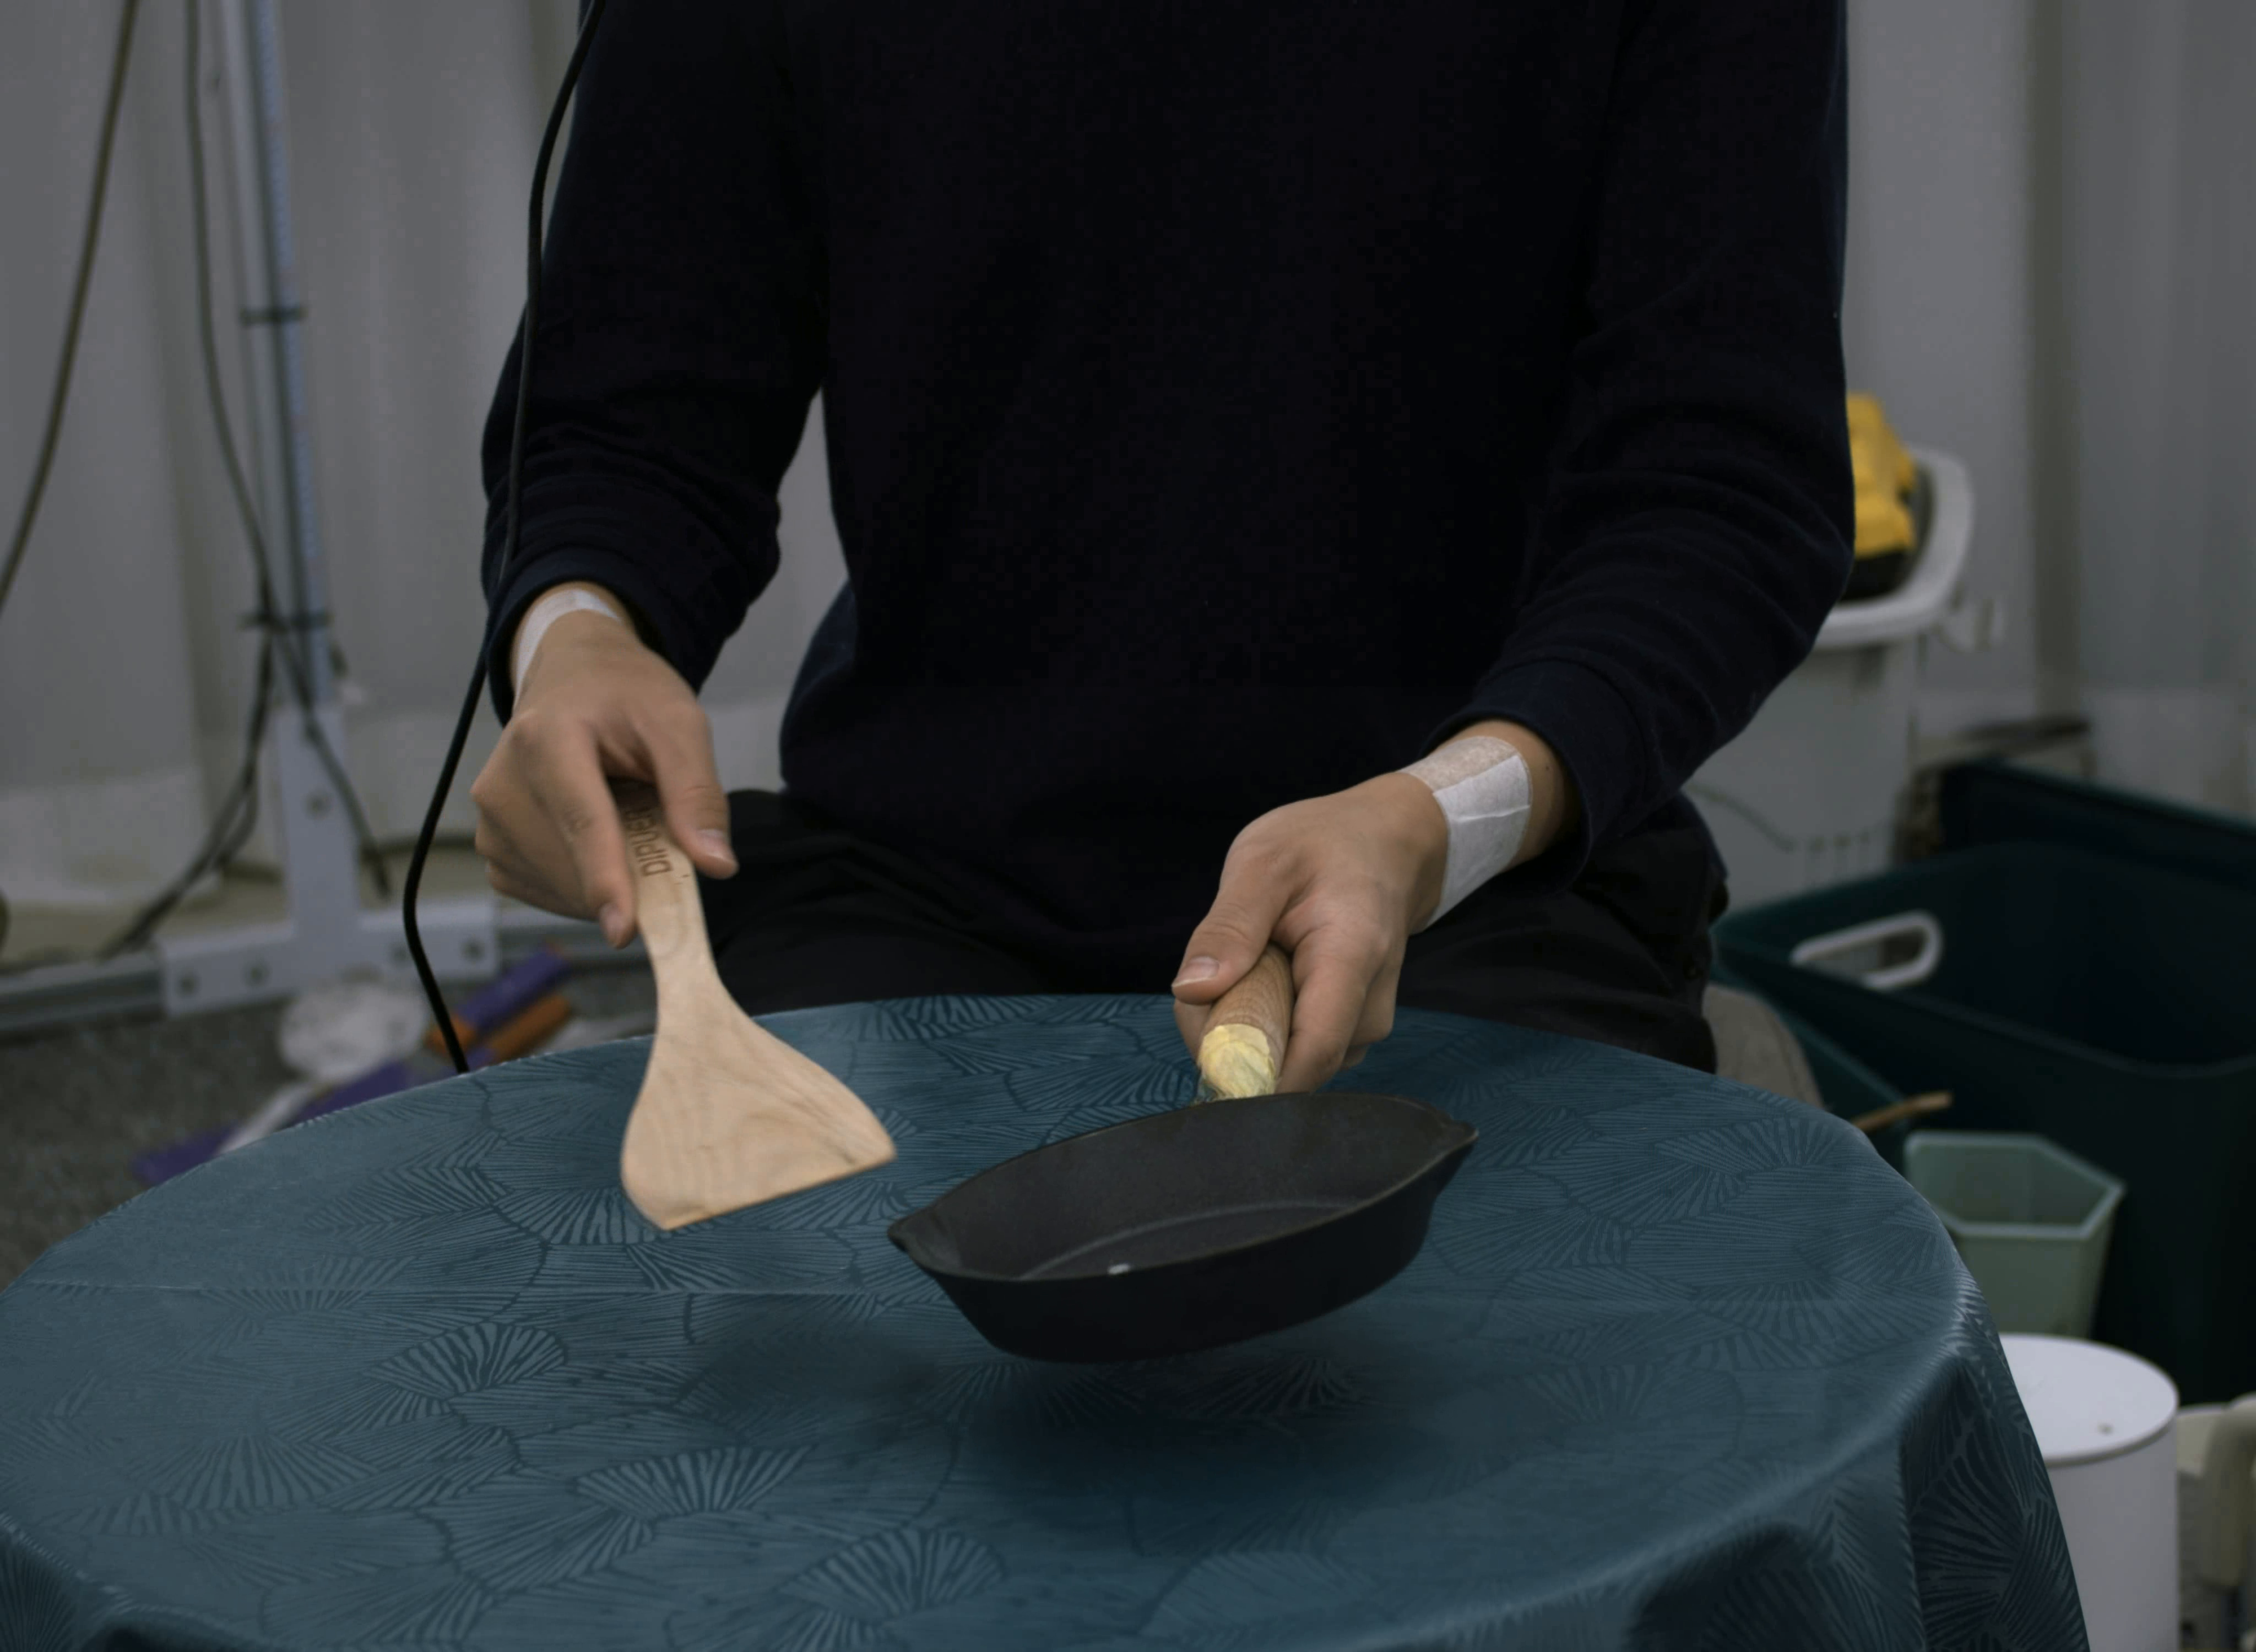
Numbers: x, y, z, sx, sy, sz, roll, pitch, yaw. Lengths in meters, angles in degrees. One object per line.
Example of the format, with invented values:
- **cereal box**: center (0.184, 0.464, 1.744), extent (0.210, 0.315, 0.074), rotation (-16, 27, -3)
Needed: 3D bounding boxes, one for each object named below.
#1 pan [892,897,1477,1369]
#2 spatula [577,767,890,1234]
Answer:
- **pan**: center (0.030, 0.086, 1.606), extent (0.168, 0.049, 0.326), rotation (-9, 13, 12)
- **spatula**: center (-0.136, 0.045, 1.673), extent (0.079, 0.016, 0.331), rotation (-14, 26, -7)
